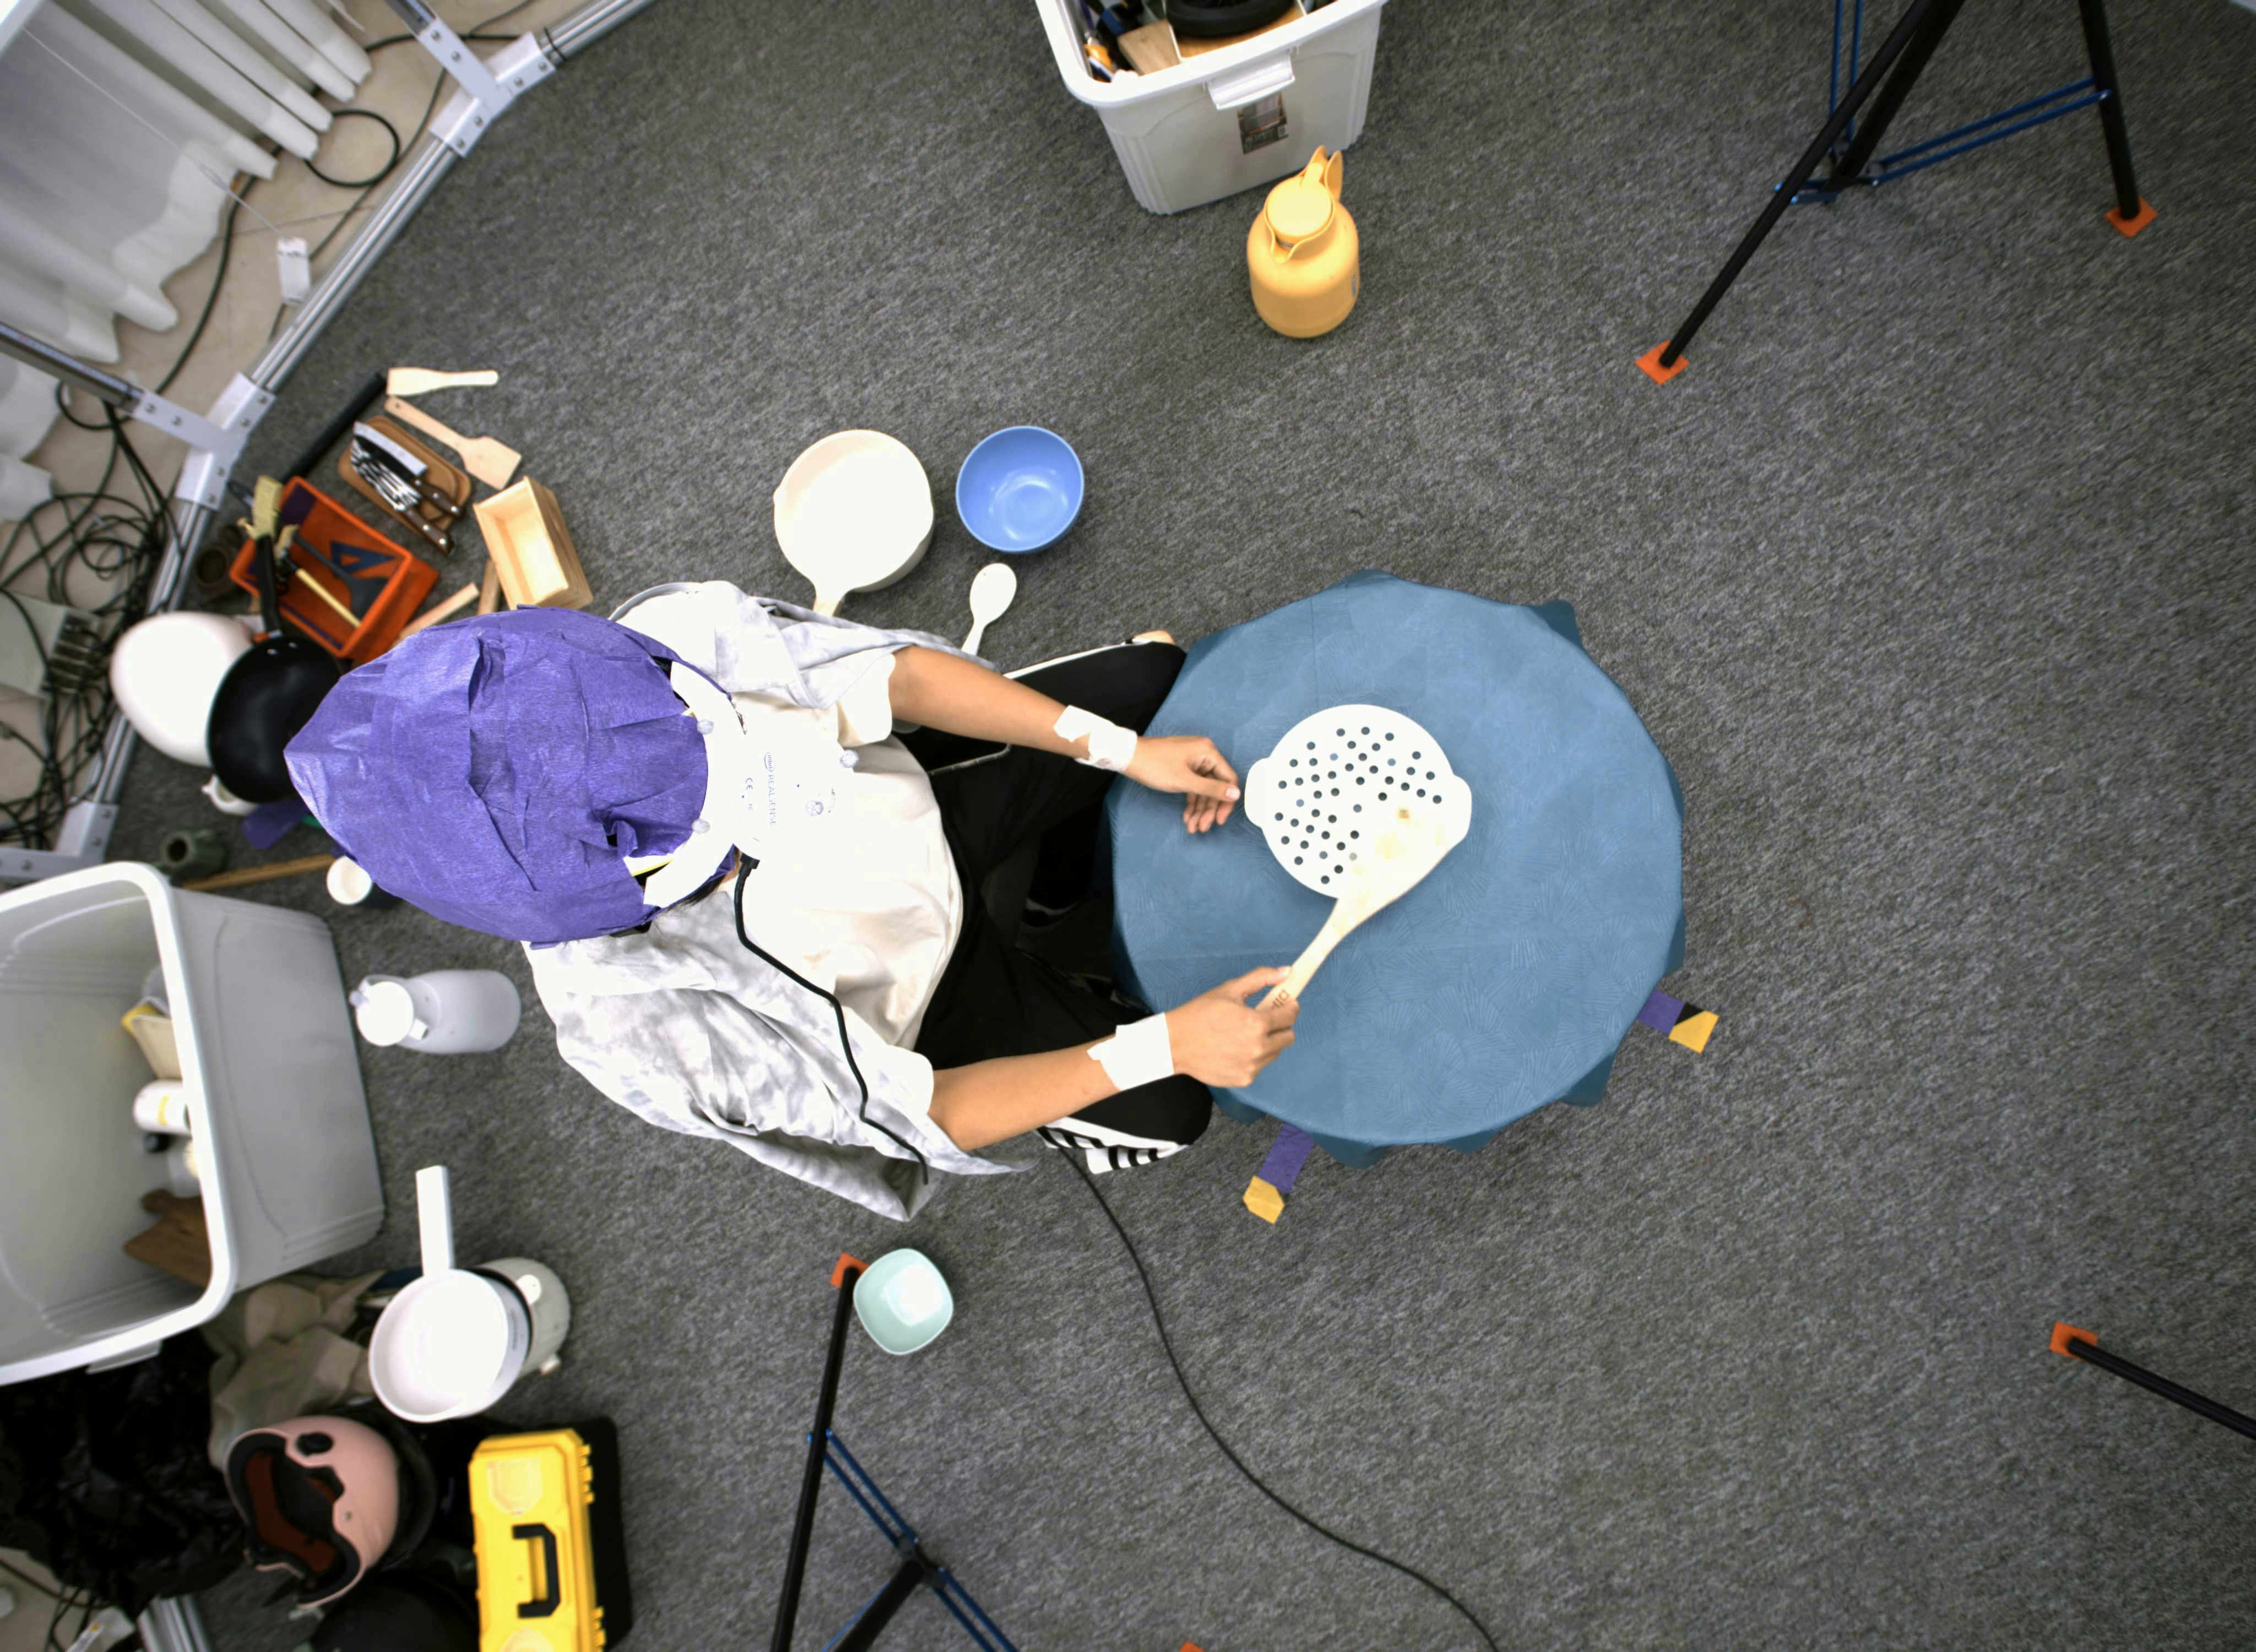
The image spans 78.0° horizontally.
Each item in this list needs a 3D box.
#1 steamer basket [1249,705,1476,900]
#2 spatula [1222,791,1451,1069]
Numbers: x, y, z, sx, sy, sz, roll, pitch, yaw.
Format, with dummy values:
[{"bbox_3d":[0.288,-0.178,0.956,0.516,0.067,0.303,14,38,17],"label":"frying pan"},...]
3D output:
[{"bbox_3d":[0.243,-0.023,1.435,0.231,0.069,0.201,6,86,12],"label":"steamer basket"},{"bbox_3d":[0.194,0.101,1.340,0.080,0.016,0.324,41,80,-11],"label":"spatula"}]
